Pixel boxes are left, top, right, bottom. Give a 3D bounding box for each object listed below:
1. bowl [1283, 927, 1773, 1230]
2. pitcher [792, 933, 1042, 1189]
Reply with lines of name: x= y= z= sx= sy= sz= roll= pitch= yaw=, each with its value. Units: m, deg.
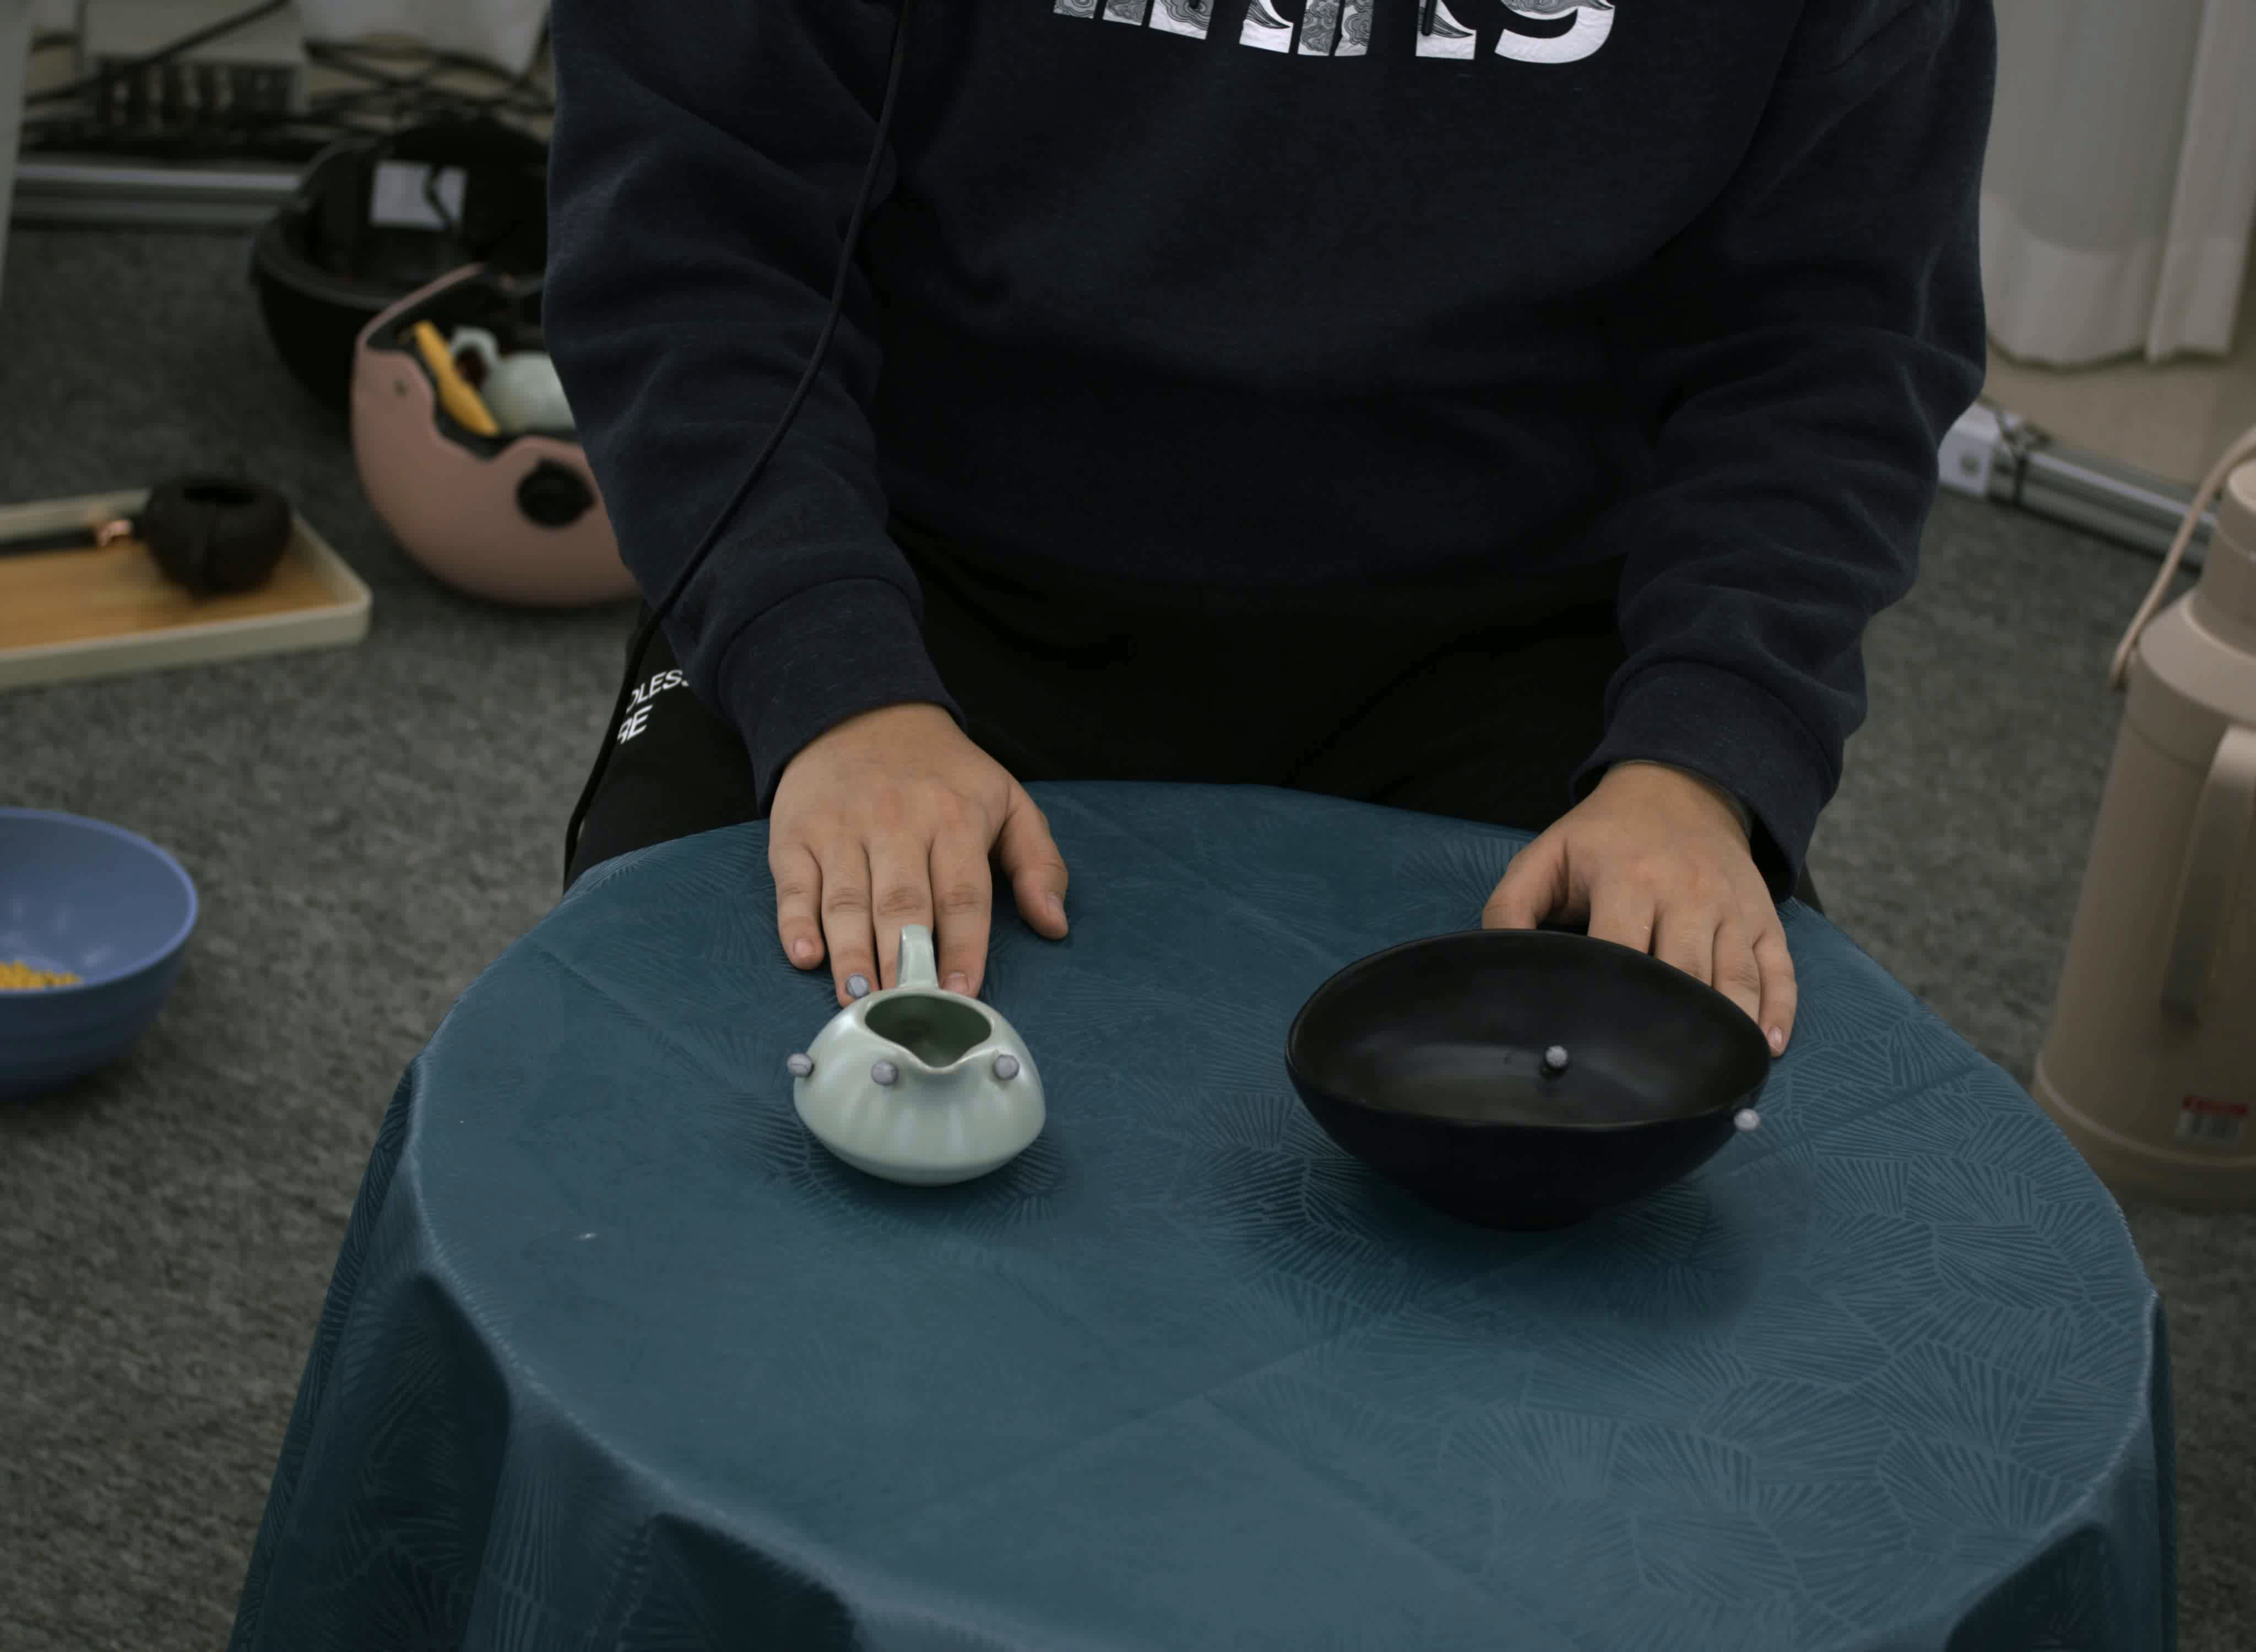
bowl: x=0.136 y=0.096 z=1.825 sx=0.169 sy=0.066 sz=0.138 roll=-2 pitch=27 yaw=-16
pitcher: x=-0.072 y=0.081 z=1.812 sx=0.085 sy=0.060 sz=0.109 roll=3 pitch=24 yaw=-10
